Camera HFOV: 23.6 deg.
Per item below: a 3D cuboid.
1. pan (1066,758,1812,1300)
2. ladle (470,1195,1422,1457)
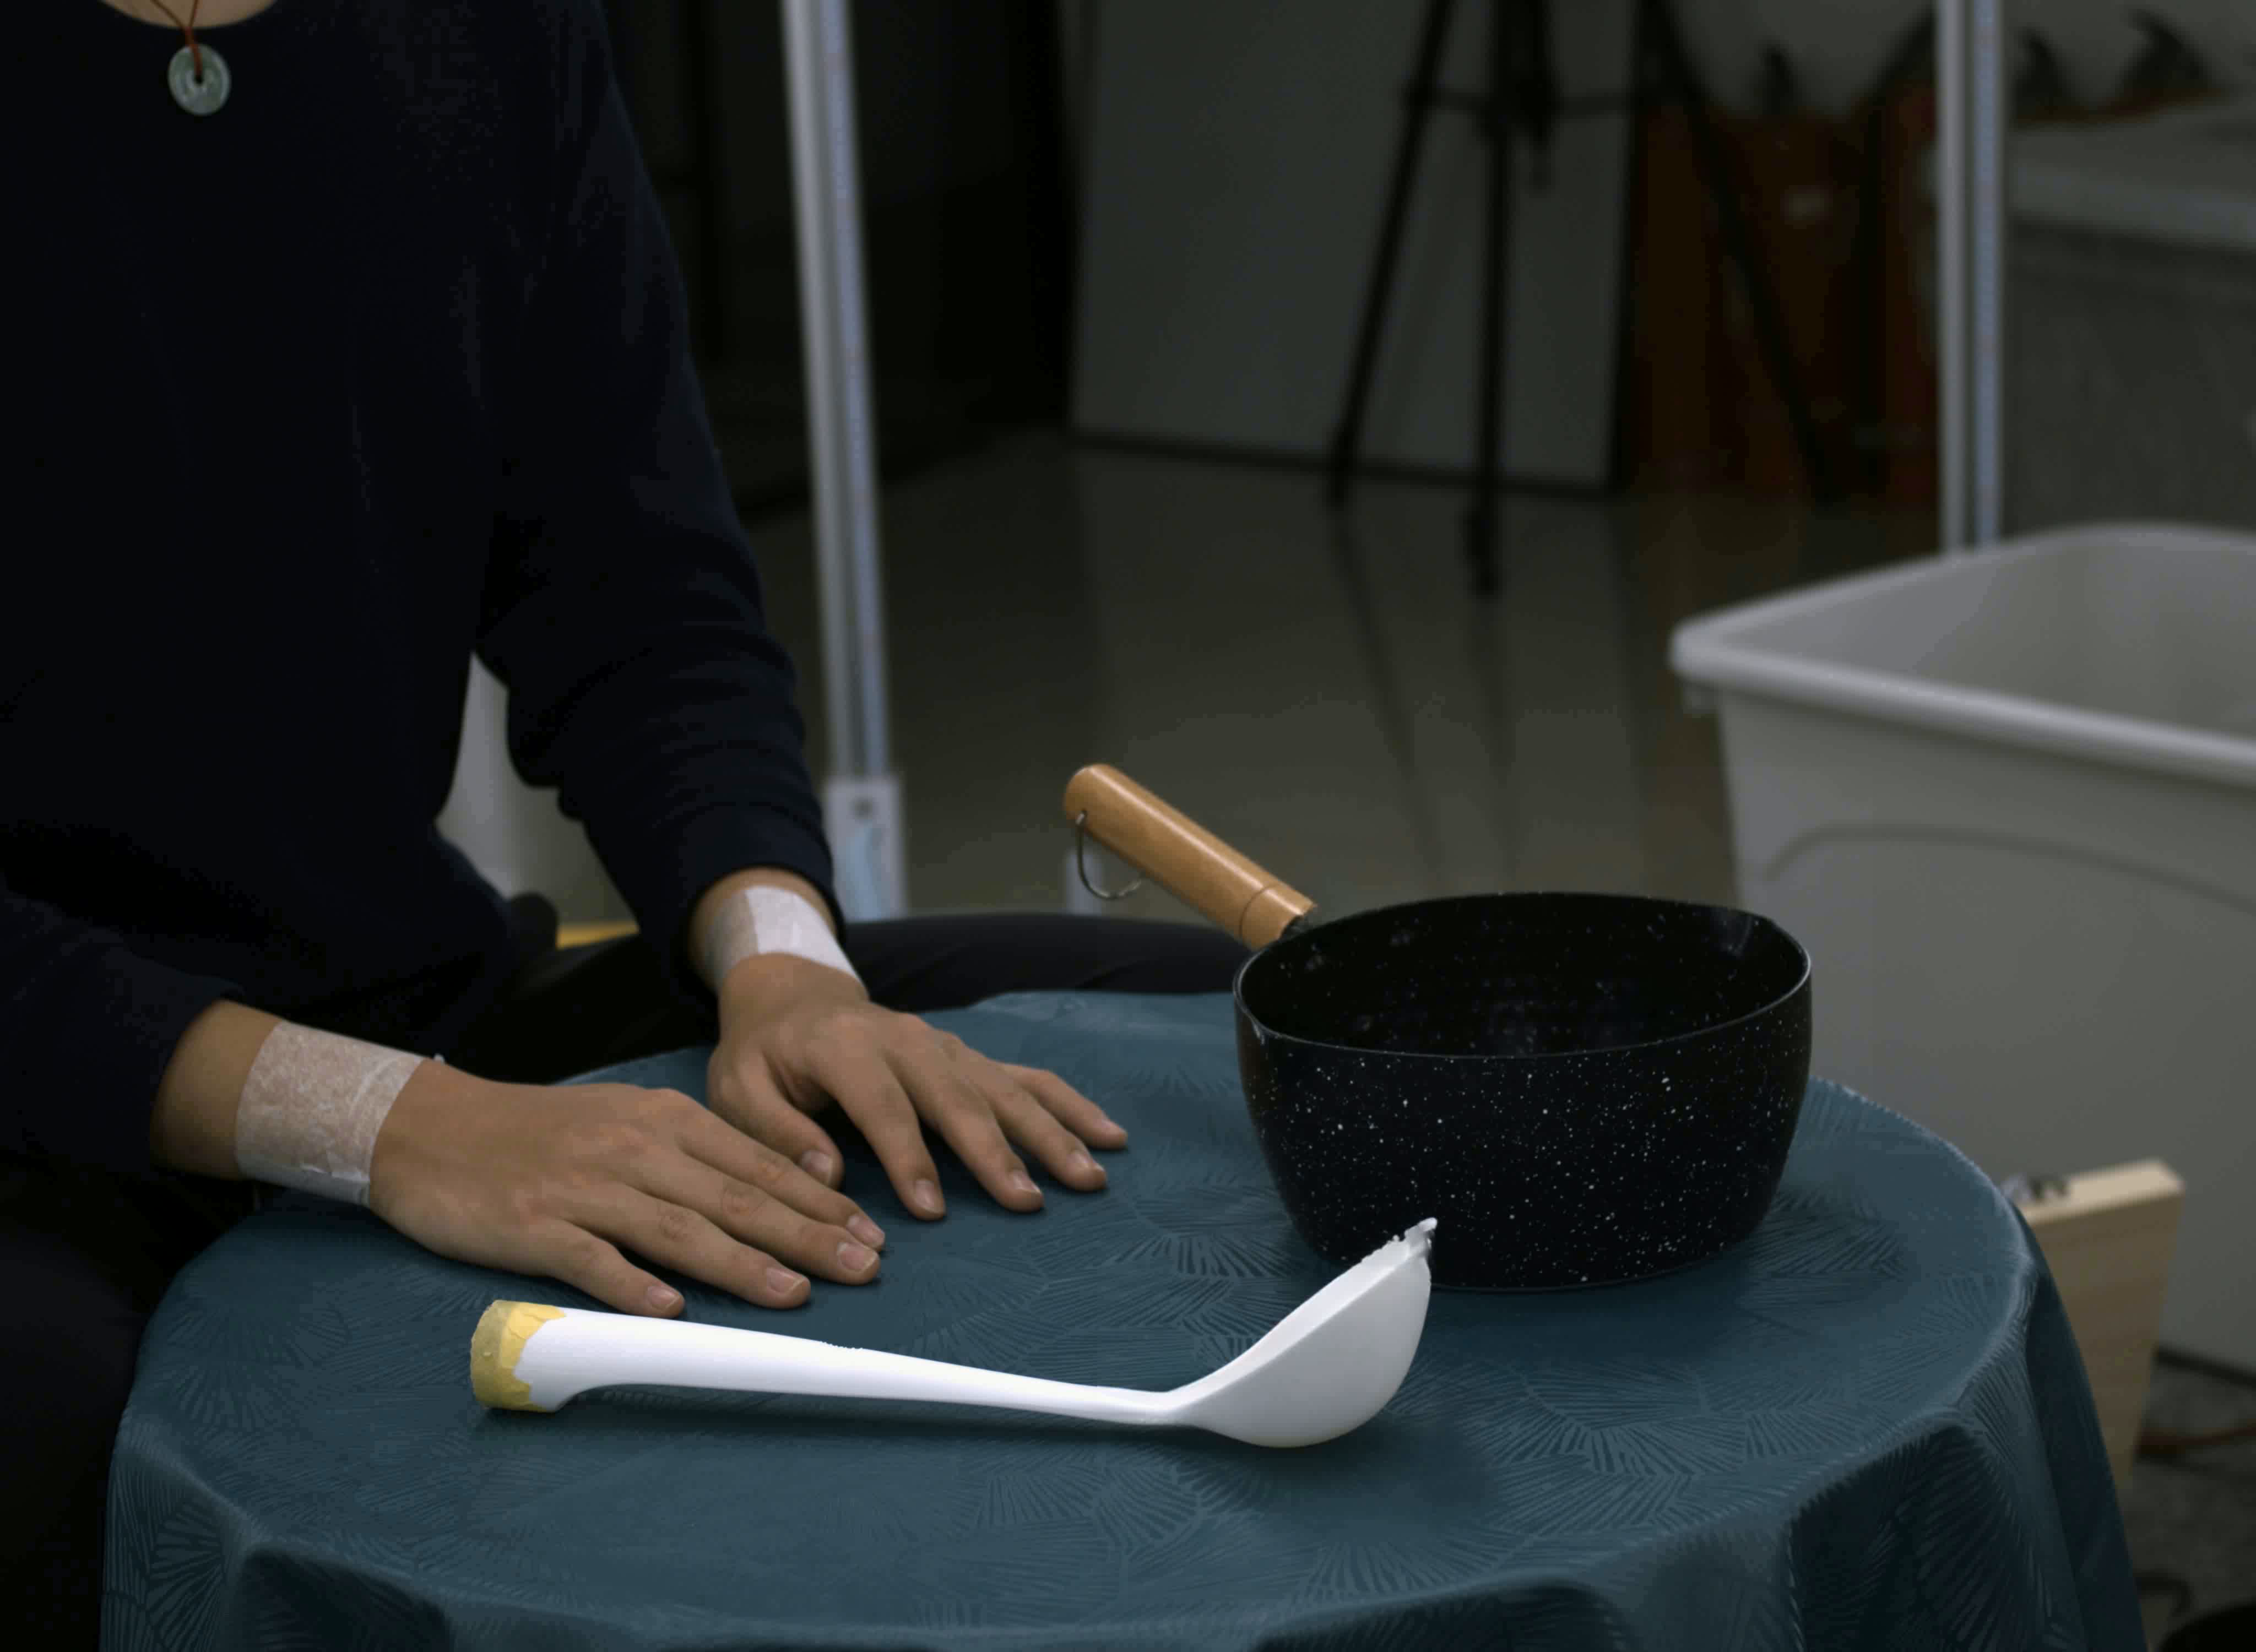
[{"bbox_3d":[0.080,0.060,1.767,0.203,0.109,0.346,-14,18,-32],"label":"pan"},{"bbox_3d":[-0.054,0.145,1.553,0.292,0.070,0.089,-1,18,19],"label":"ladle"}]
